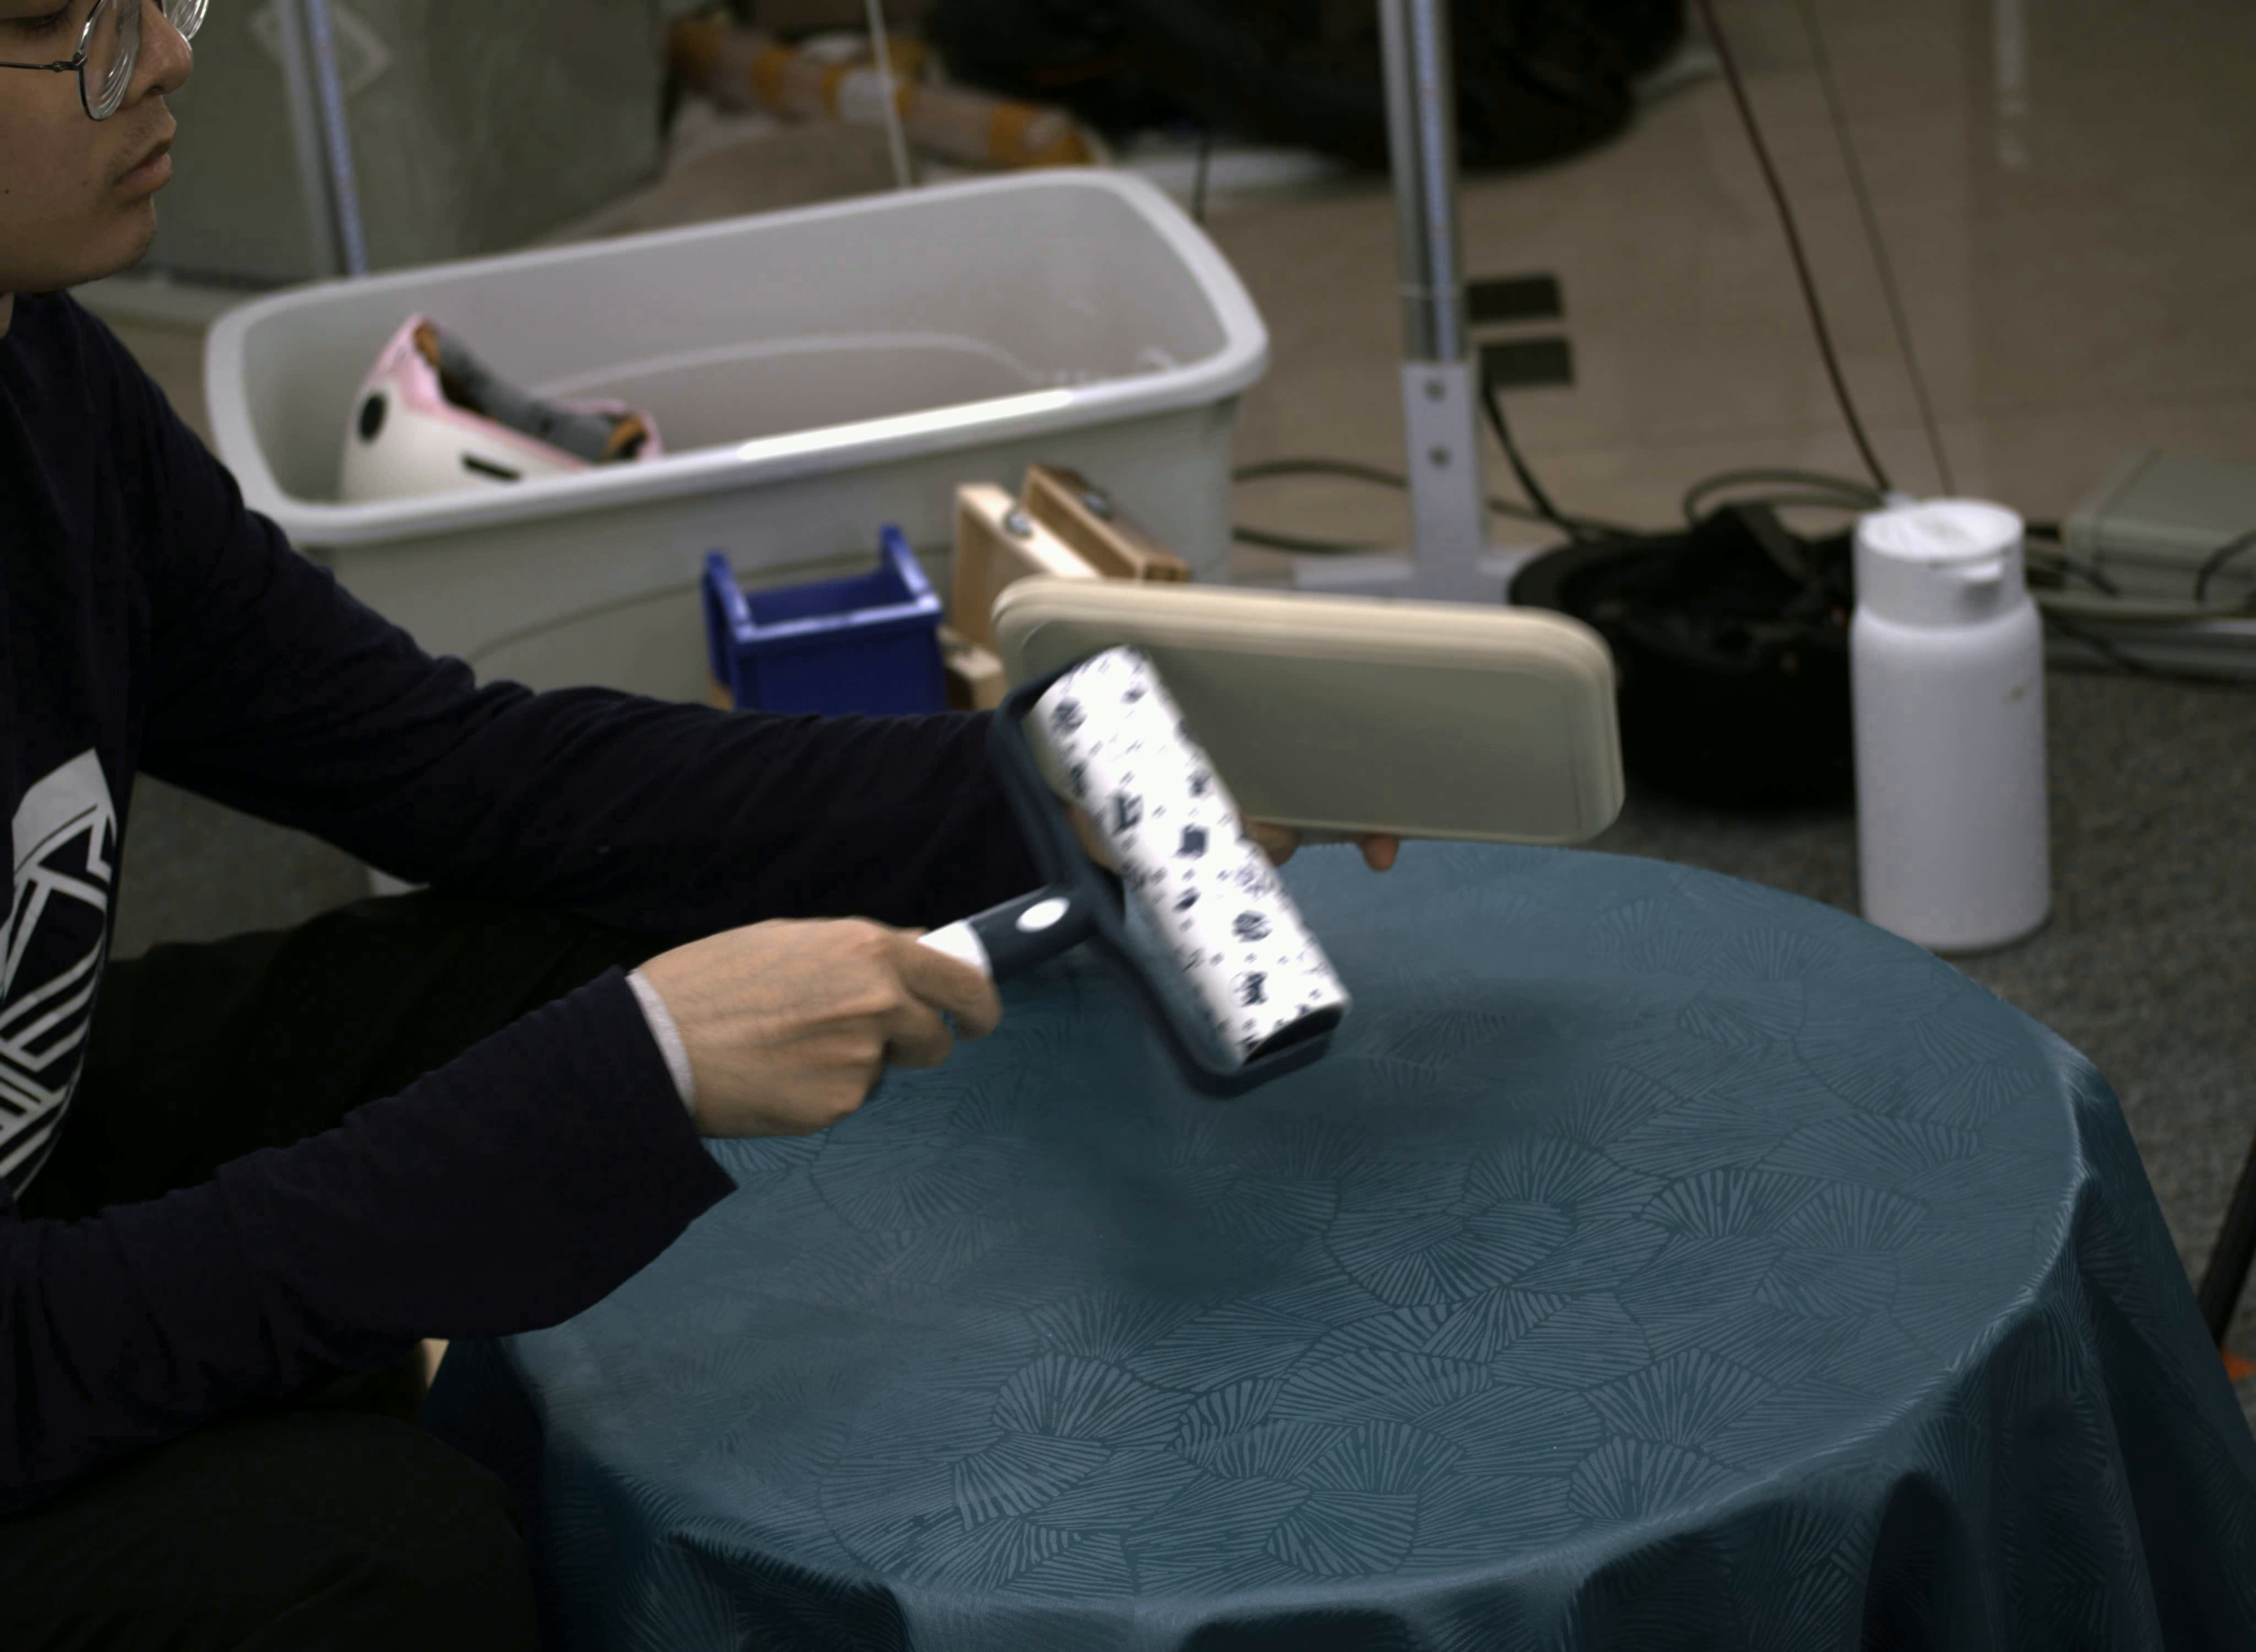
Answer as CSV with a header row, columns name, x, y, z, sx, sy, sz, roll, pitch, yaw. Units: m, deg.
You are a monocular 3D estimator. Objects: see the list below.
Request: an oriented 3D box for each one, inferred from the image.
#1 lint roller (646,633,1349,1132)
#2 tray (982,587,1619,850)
name,x,y,z,sx,sy,sz,roll,pitch,yaw
lint roller,-0.061,0.049,2.054,0.245,0.051,0.175,-25,76,-19
tray,0.067,-0.038,2.187,0.239,0.174,0.017,5,65,11
